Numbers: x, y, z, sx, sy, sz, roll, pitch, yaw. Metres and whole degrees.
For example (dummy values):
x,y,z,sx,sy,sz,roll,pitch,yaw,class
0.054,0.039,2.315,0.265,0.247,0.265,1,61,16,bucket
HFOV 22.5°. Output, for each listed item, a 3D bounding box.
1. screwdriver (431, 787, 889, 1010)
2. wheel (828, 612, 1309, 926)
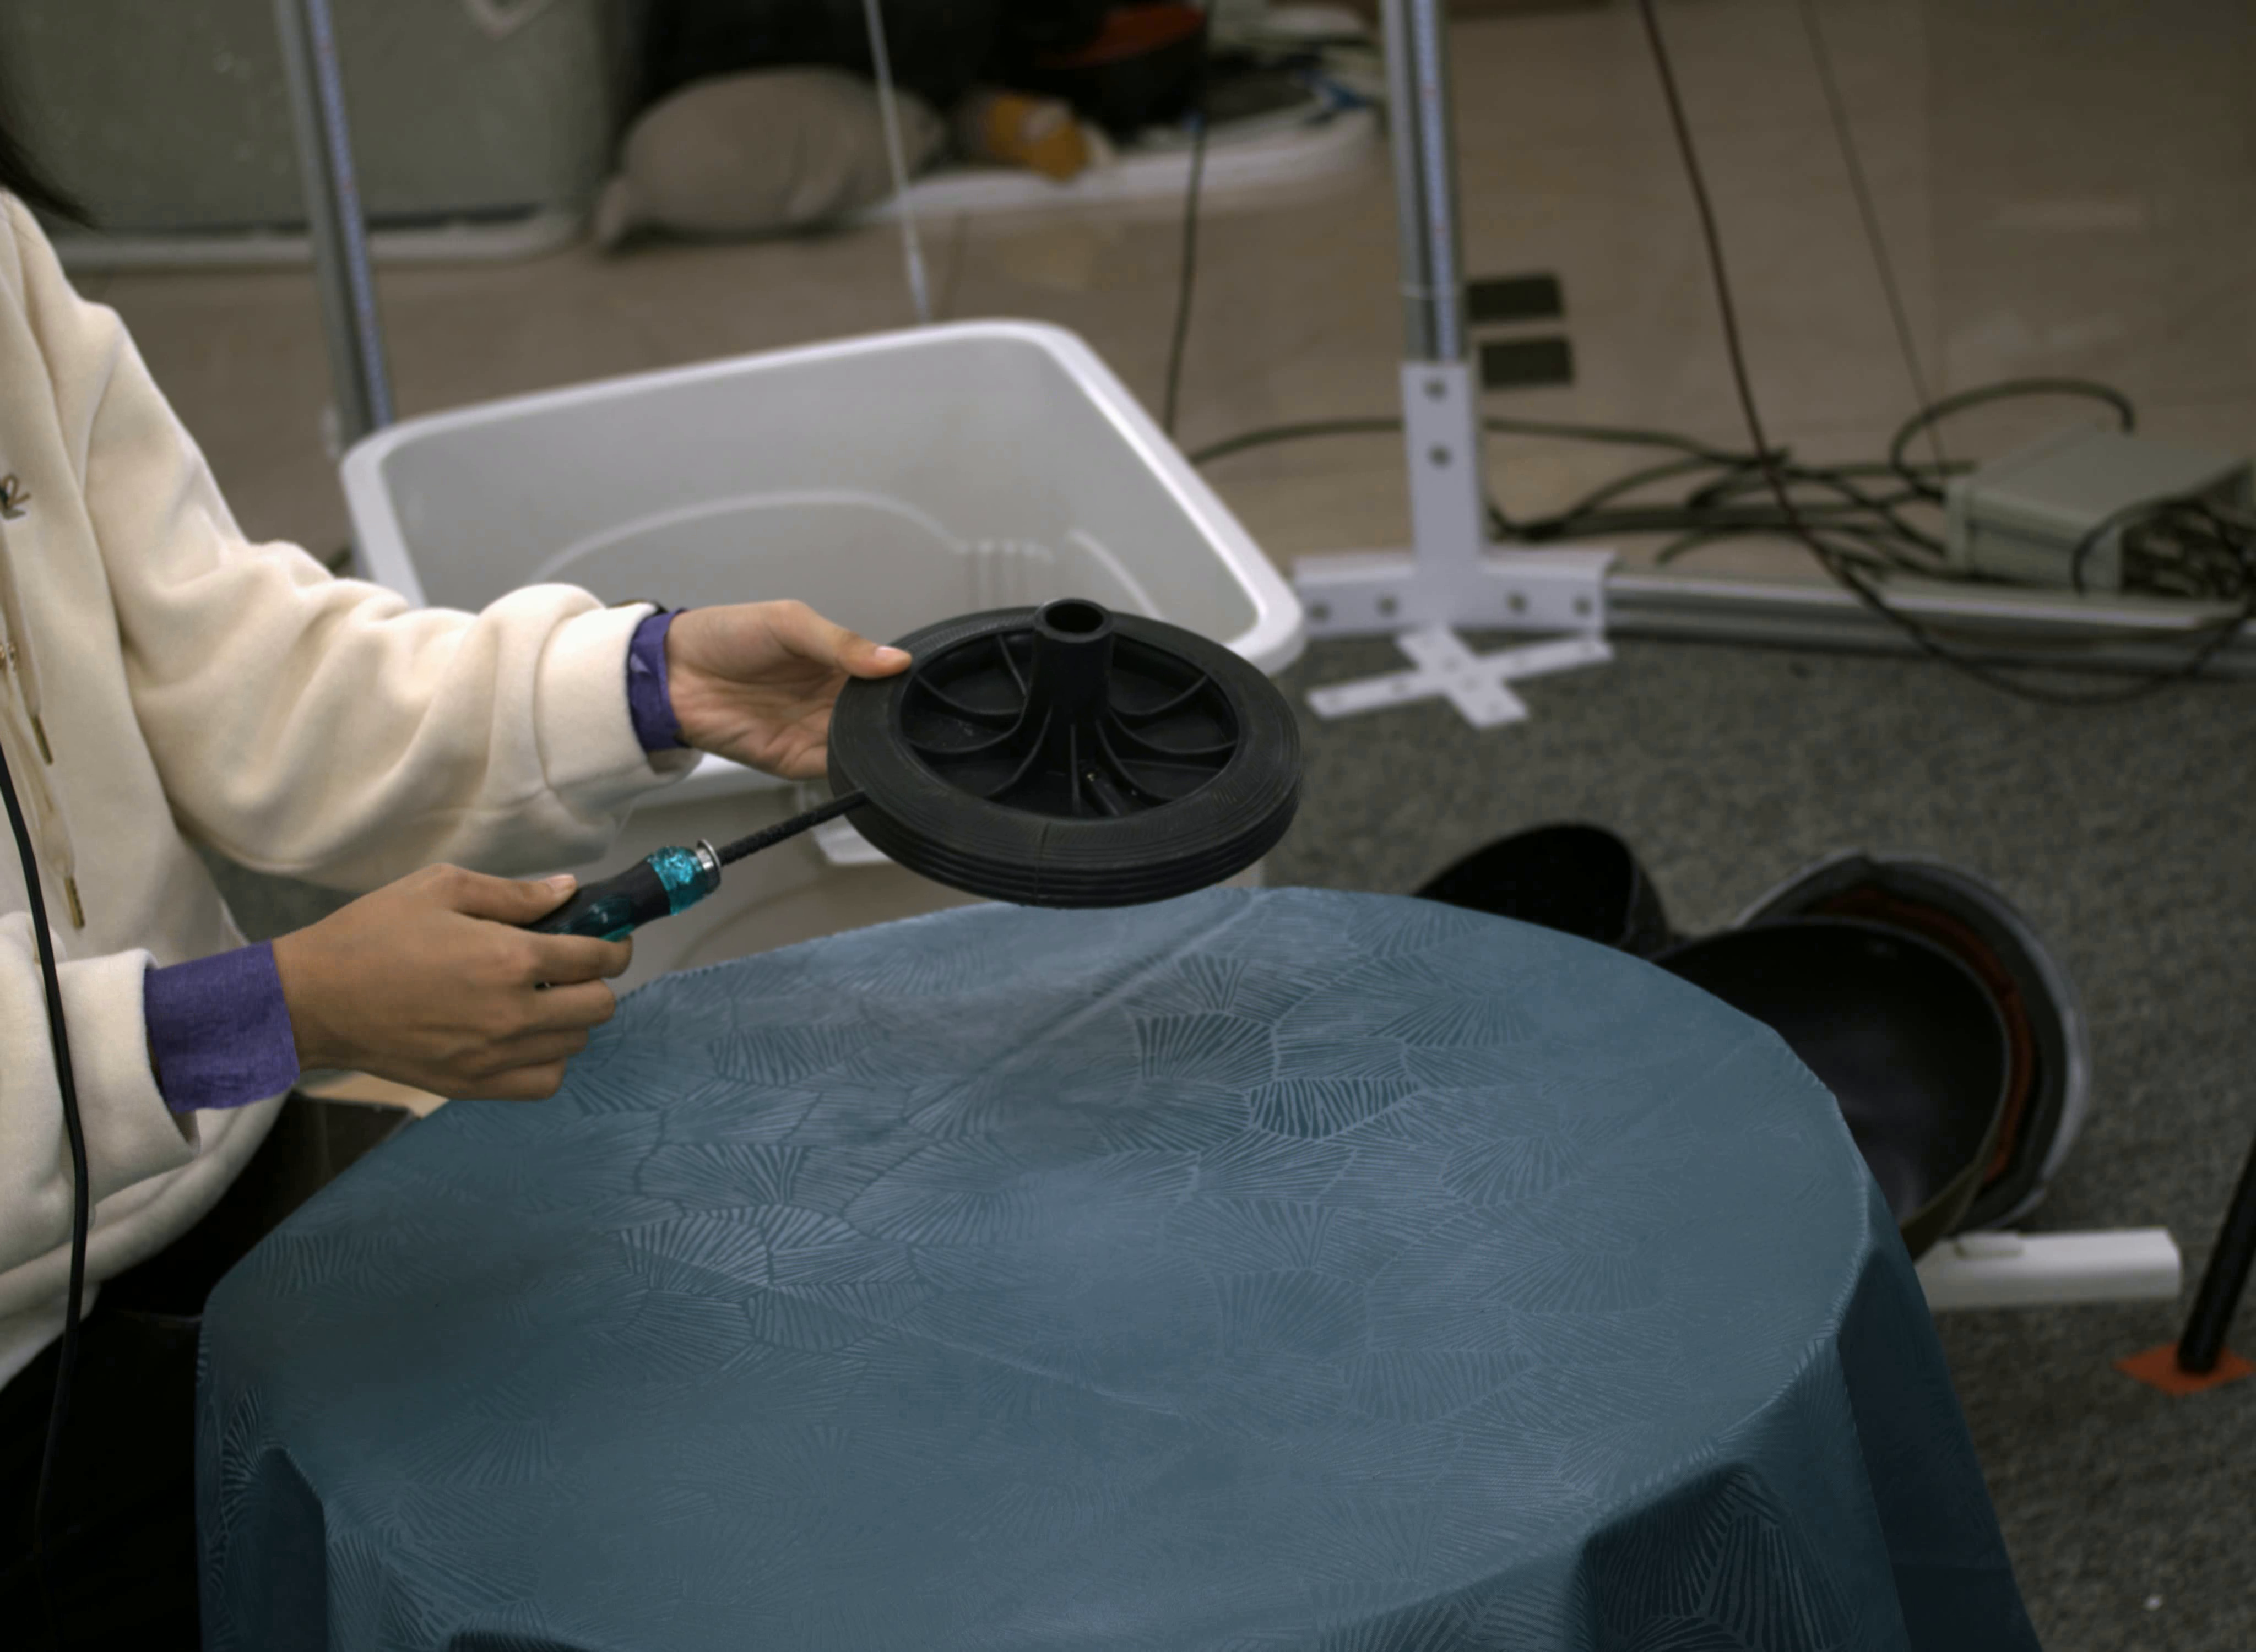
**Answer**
x,y,z,sx,sy,sz,roll,pitch,yaw,class
-0.172,0.022,2.117,0.189,0.034,0.033,-24,30,-21,screwdriver
-0.021,-0.042,2.213,0.188,0.080,0.185,32,44,29,wheel
